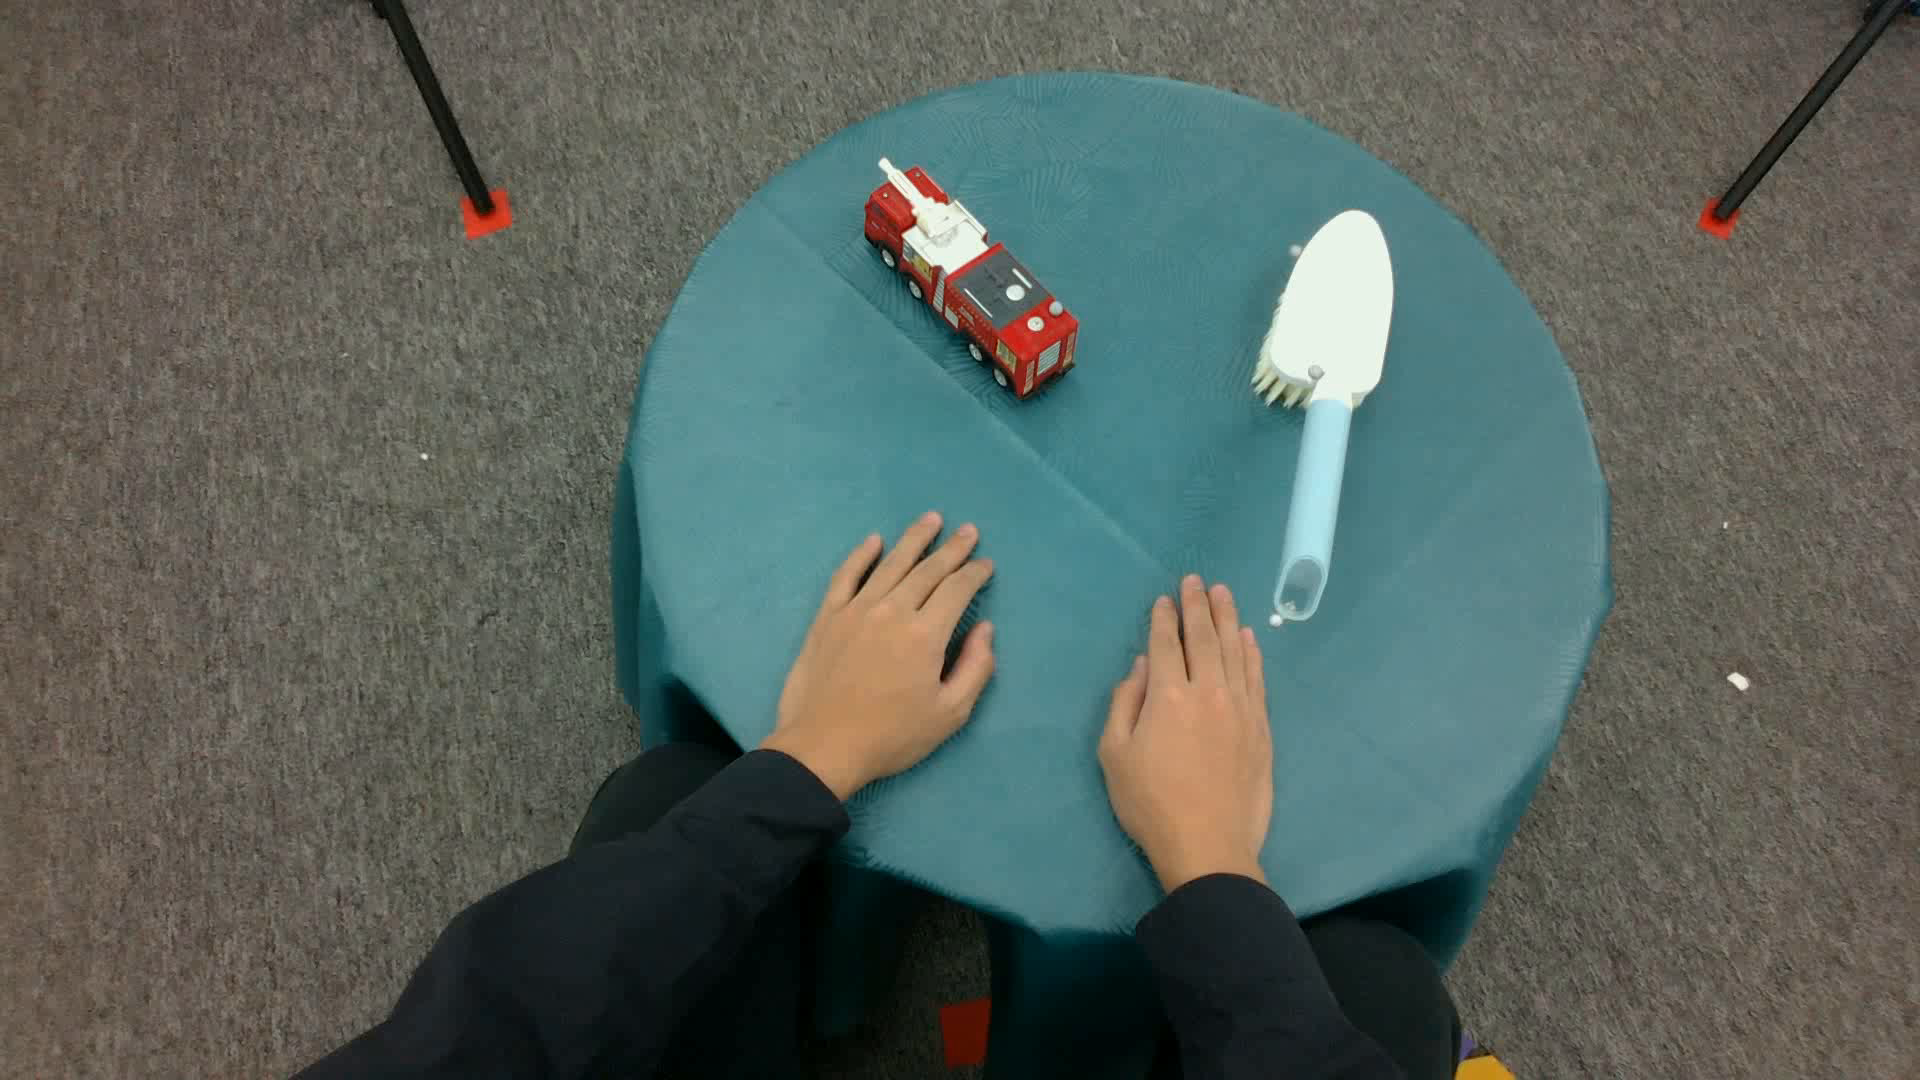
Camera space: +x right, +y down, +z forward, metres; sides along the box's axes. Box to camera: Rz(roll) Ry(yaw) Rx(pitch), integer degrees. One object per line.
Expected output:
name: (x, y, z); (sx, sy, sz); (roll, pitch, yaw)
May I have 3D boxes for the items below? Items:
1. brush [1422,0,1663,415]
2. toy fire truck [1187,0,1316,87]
brush: (0.305, -0.182, 0.761); (0.083, 0.084, 0.326); (15, 61, 36)
toy fire truck: (0.143, -0.345, 0.793); (0.054, 0.070, 0.168); (-26, 83, -6)
